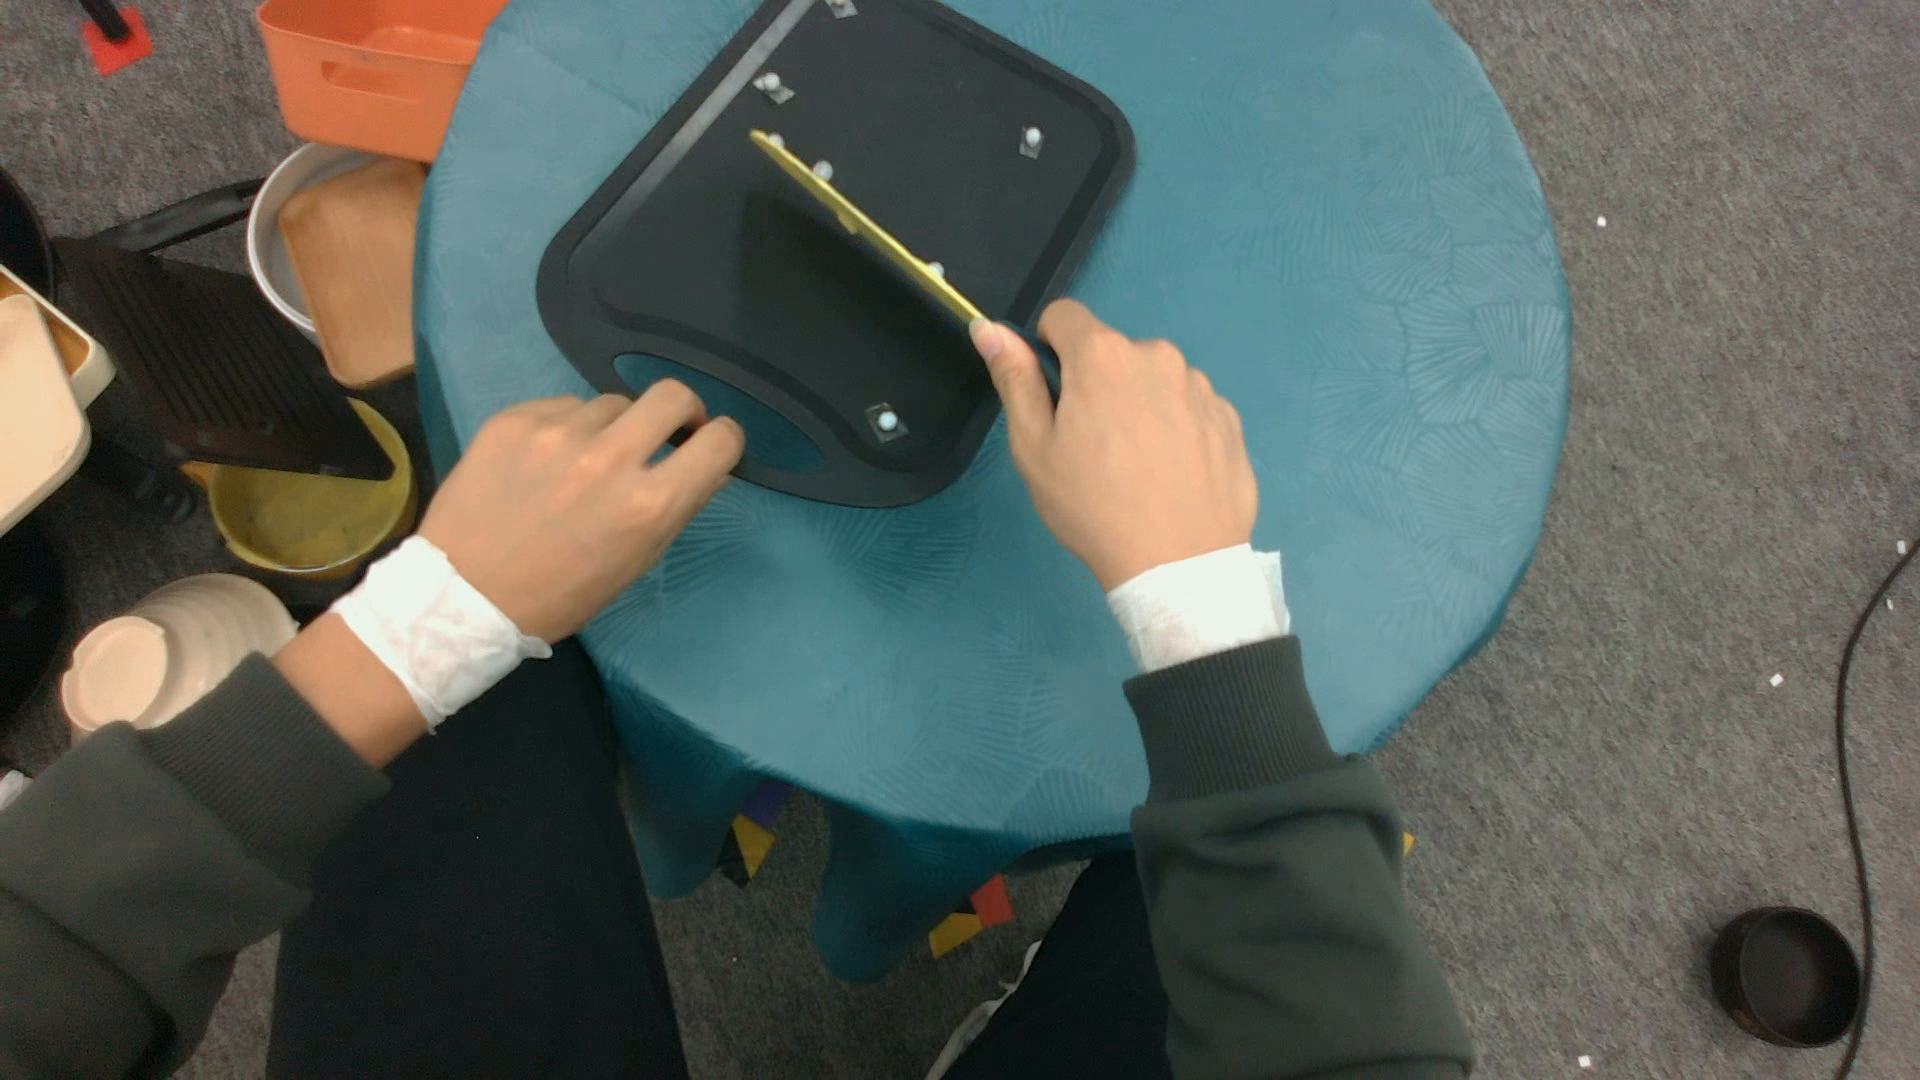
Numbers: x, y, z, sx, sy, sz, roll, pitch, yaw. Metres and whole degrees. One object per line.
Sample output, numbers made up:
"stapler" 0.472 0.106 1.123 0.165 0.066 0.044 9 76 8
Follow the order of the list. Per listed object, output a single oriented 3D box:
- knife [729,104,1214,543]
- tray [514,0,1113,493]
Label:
"knife" -0.001 -0.100 0.605 0.289 0.081 0.027 43 95 10
"tray" -0.058 -0.163 0.661 0.211 0.010 0.327 28 57 0
